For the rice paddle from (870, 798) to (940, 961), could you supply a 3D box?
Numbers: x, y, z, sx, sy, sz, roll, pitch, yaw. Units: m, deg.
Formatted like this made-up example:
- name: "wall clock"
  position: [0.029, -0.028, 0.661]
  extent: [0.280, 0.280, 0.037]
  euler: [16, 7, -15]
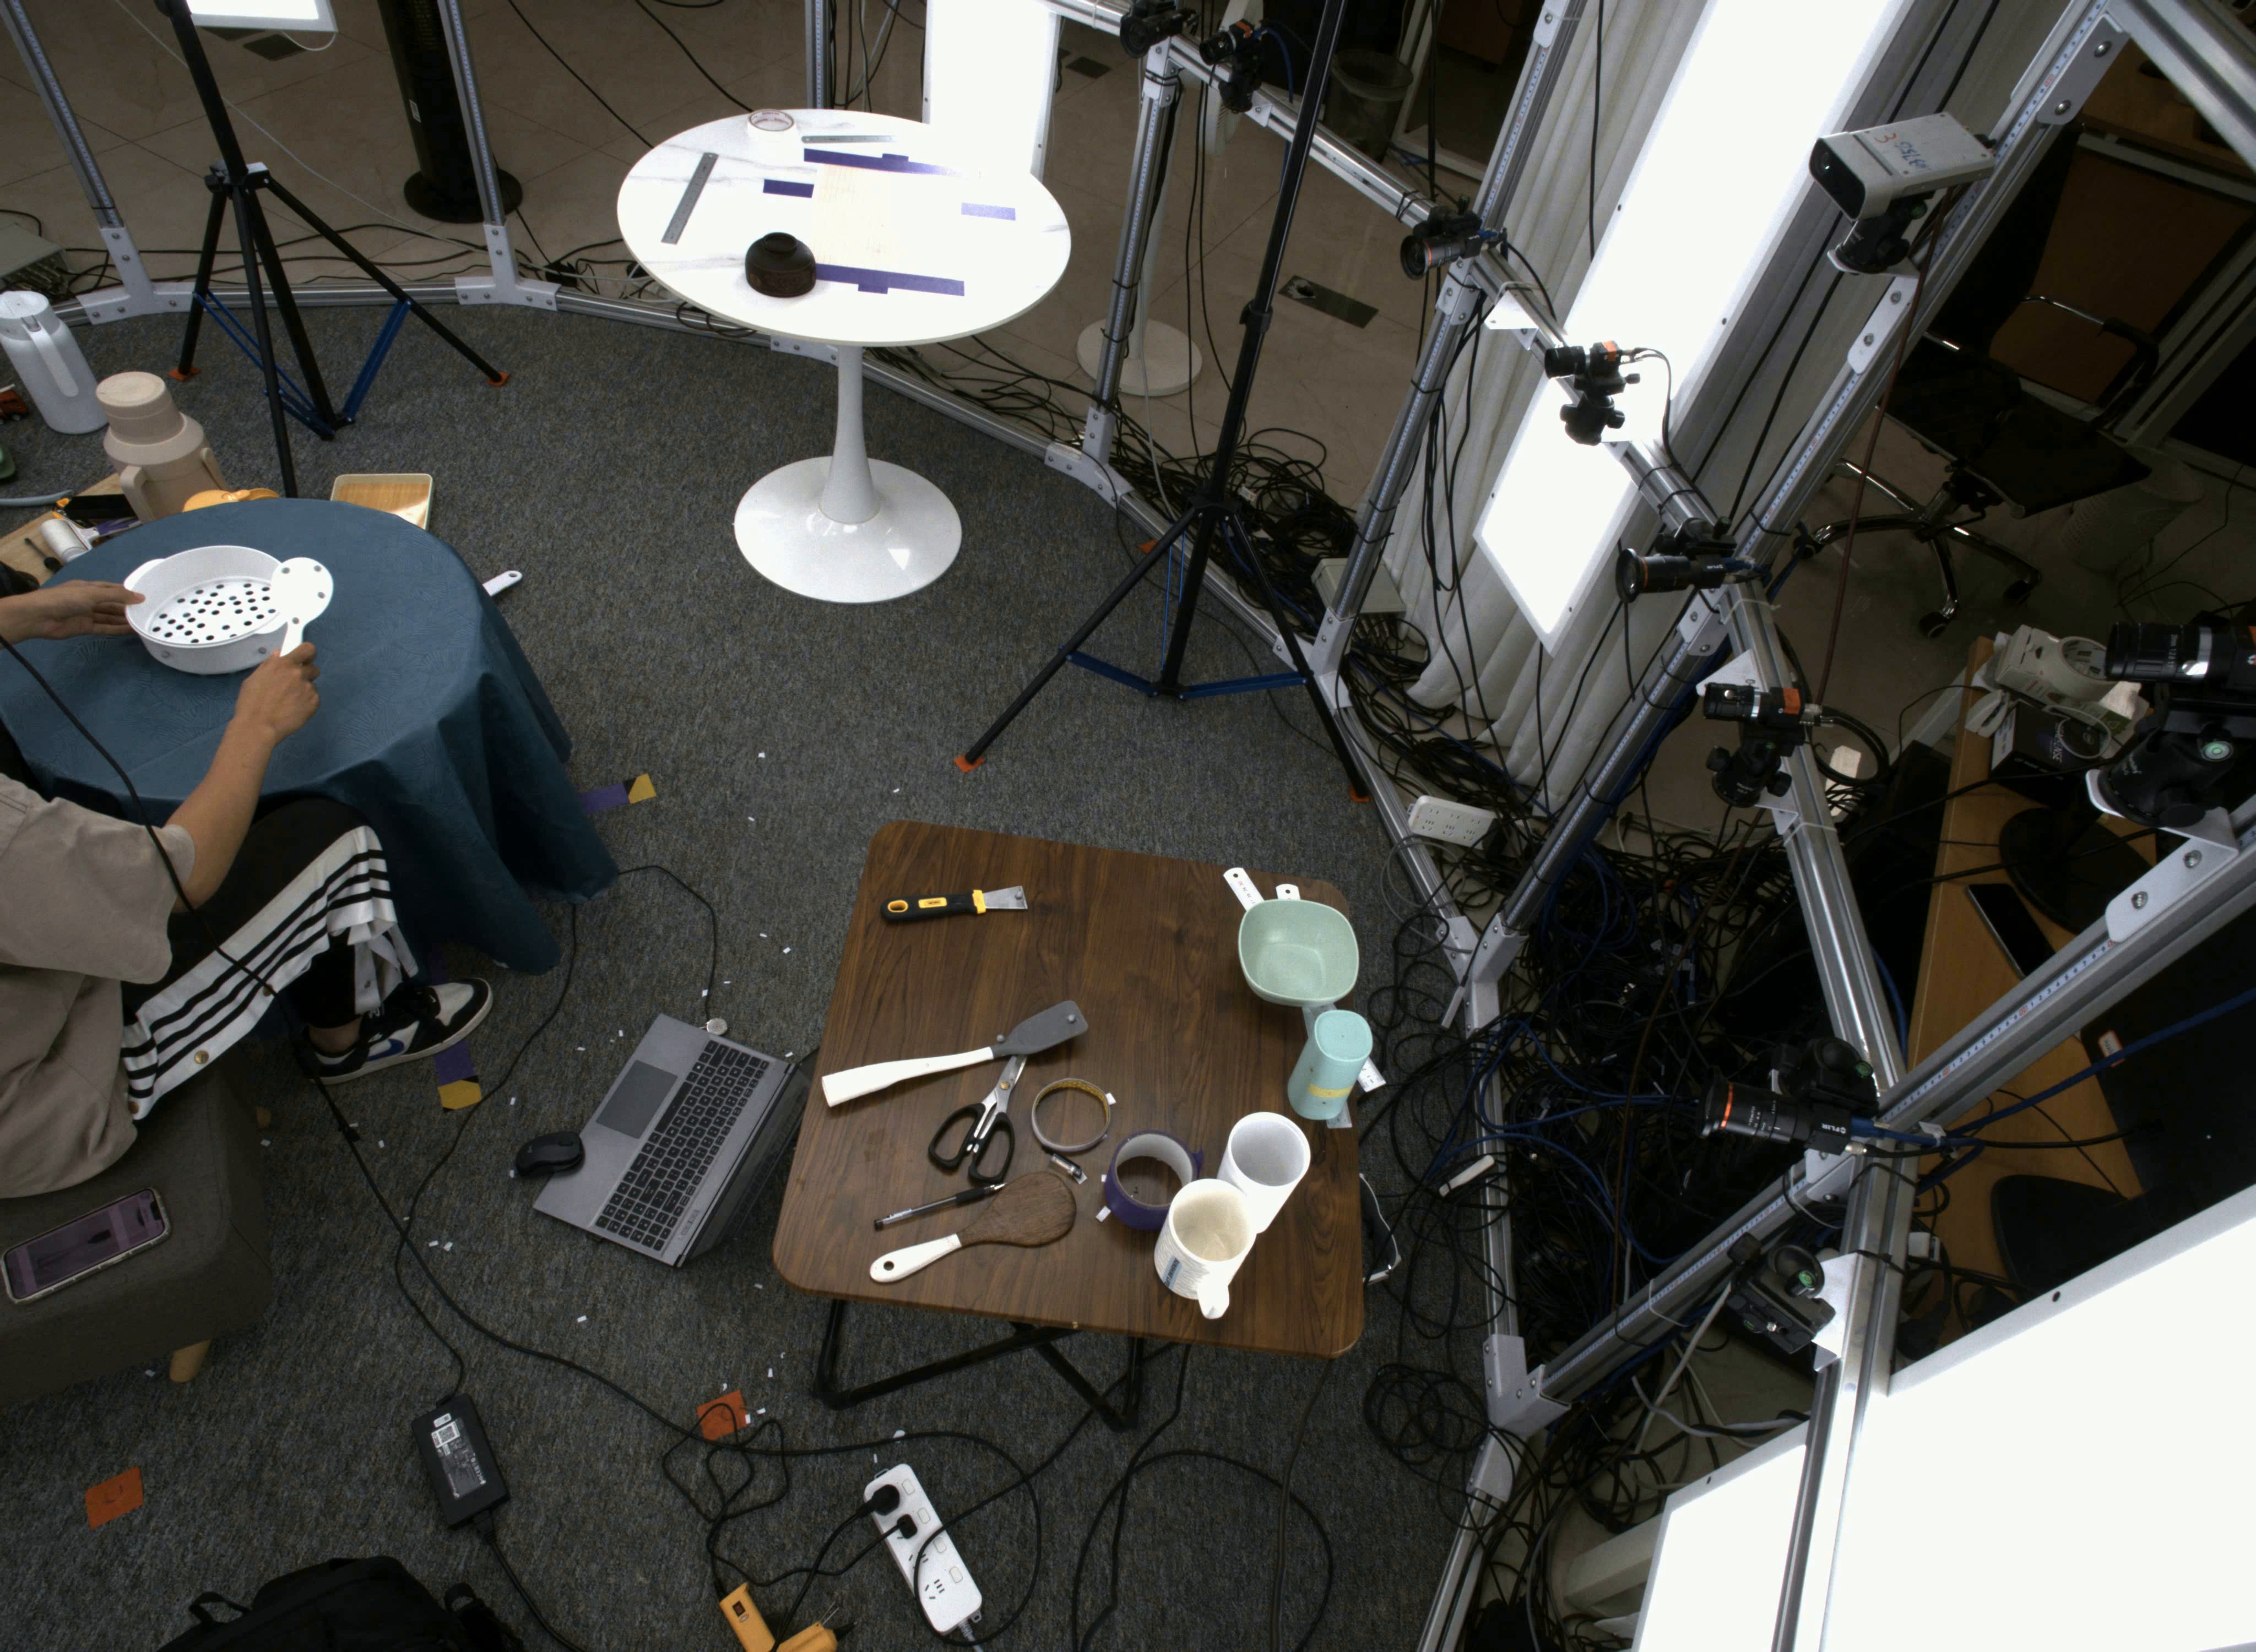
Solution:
- name: "rice paddle"
  position: [-0.273, 0.059, 1.575]
  extent: [0.070, 0.029, 0.204]
  euler: [21, 68, -26]

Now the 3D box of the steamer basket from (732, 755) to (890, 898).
- name: "steamer basket"
  position: [-0.412, 0.001, 1.695]
  extent: [0.226, 0.071, 0.201]
  euler: [29, 52, 12]
